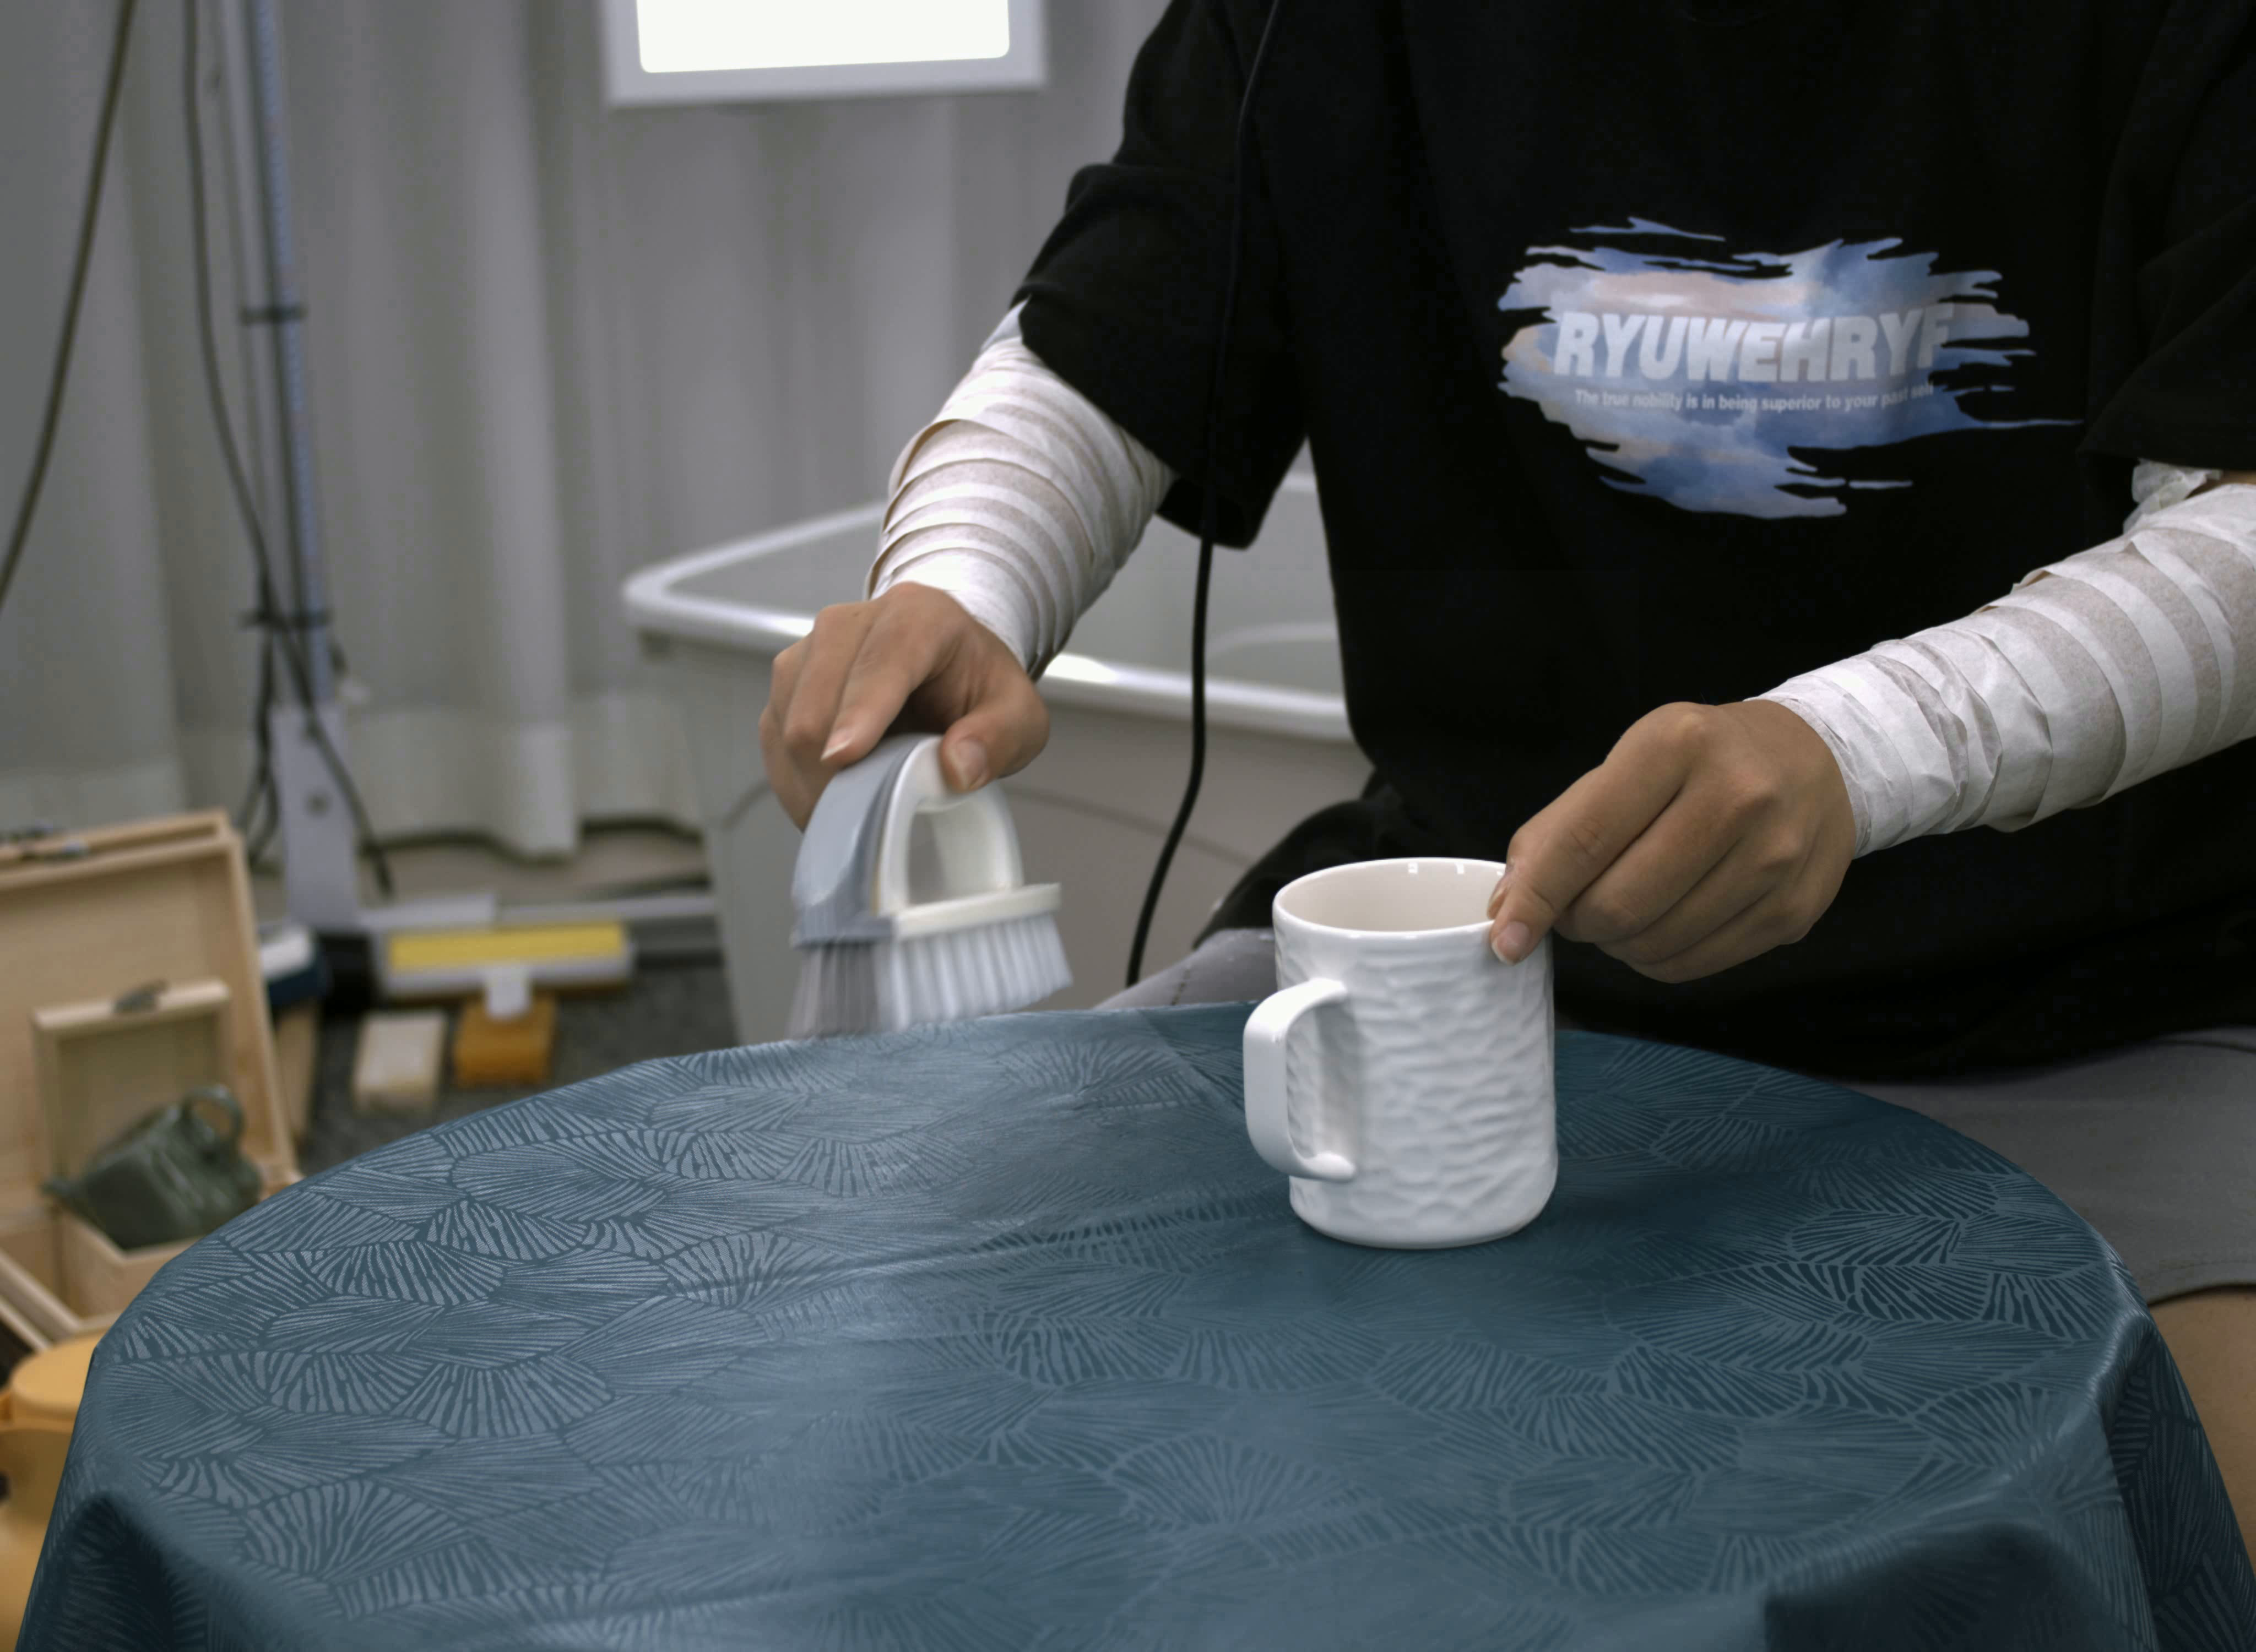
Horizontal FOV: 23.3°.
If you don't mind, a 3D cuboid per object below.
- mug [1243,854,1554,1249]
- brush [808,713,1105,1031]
[{"bbox_3d":[0.077,0.072,1.658,0.085,0.101,0.118,8,19,38],"label":"mug"},{"bbox_3d":[-0.063,0.013,1.673,0.061,0.094,0.175,-13,-1,18],"label":"brush"}]
